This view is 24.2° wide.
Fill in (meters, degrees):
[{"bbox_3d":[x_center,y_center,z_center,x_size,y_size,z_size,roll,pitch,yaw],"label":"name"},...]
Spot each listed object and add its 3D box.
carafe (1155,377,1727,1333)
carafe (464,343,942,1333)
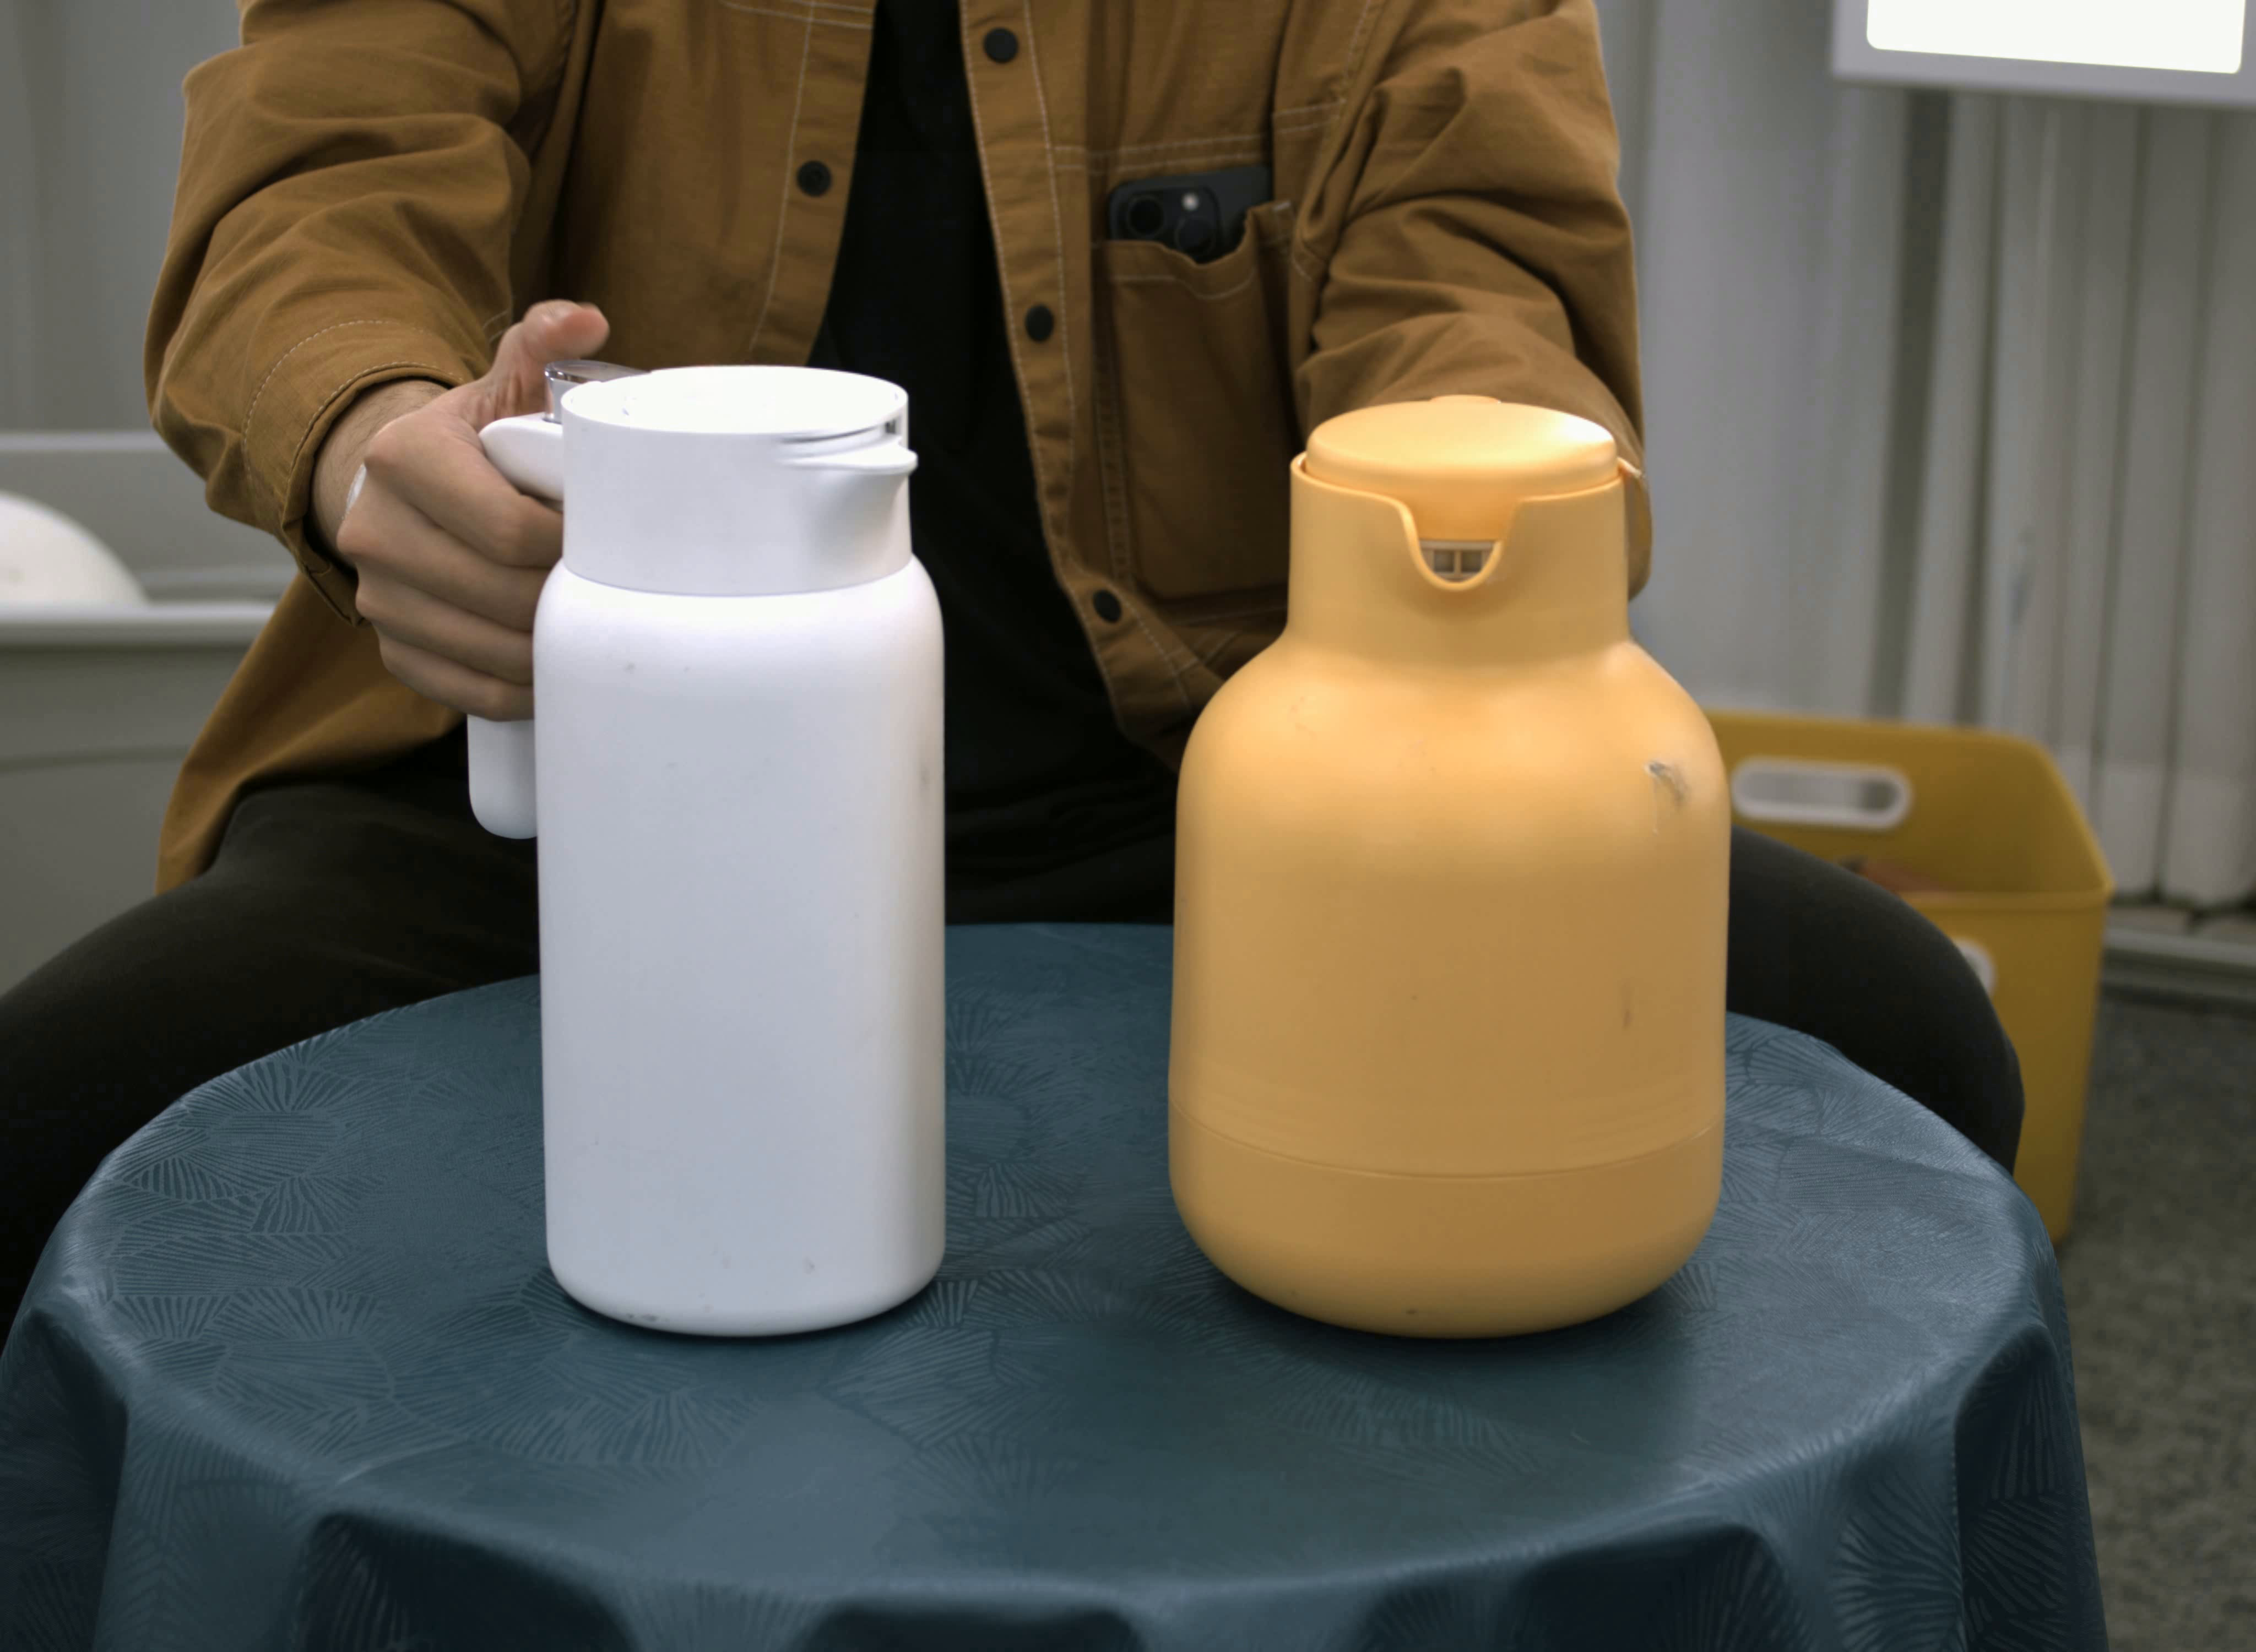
[{"bbox_3d":[0.095,0.000,1.535,0.162,0.262,0.201,5,18,5],"label":"carafe"},{"bbox_3d":[-0.126,0.000,1.519,0.170,0.271,0.124,15,24,40],"label":"carafe"}]
